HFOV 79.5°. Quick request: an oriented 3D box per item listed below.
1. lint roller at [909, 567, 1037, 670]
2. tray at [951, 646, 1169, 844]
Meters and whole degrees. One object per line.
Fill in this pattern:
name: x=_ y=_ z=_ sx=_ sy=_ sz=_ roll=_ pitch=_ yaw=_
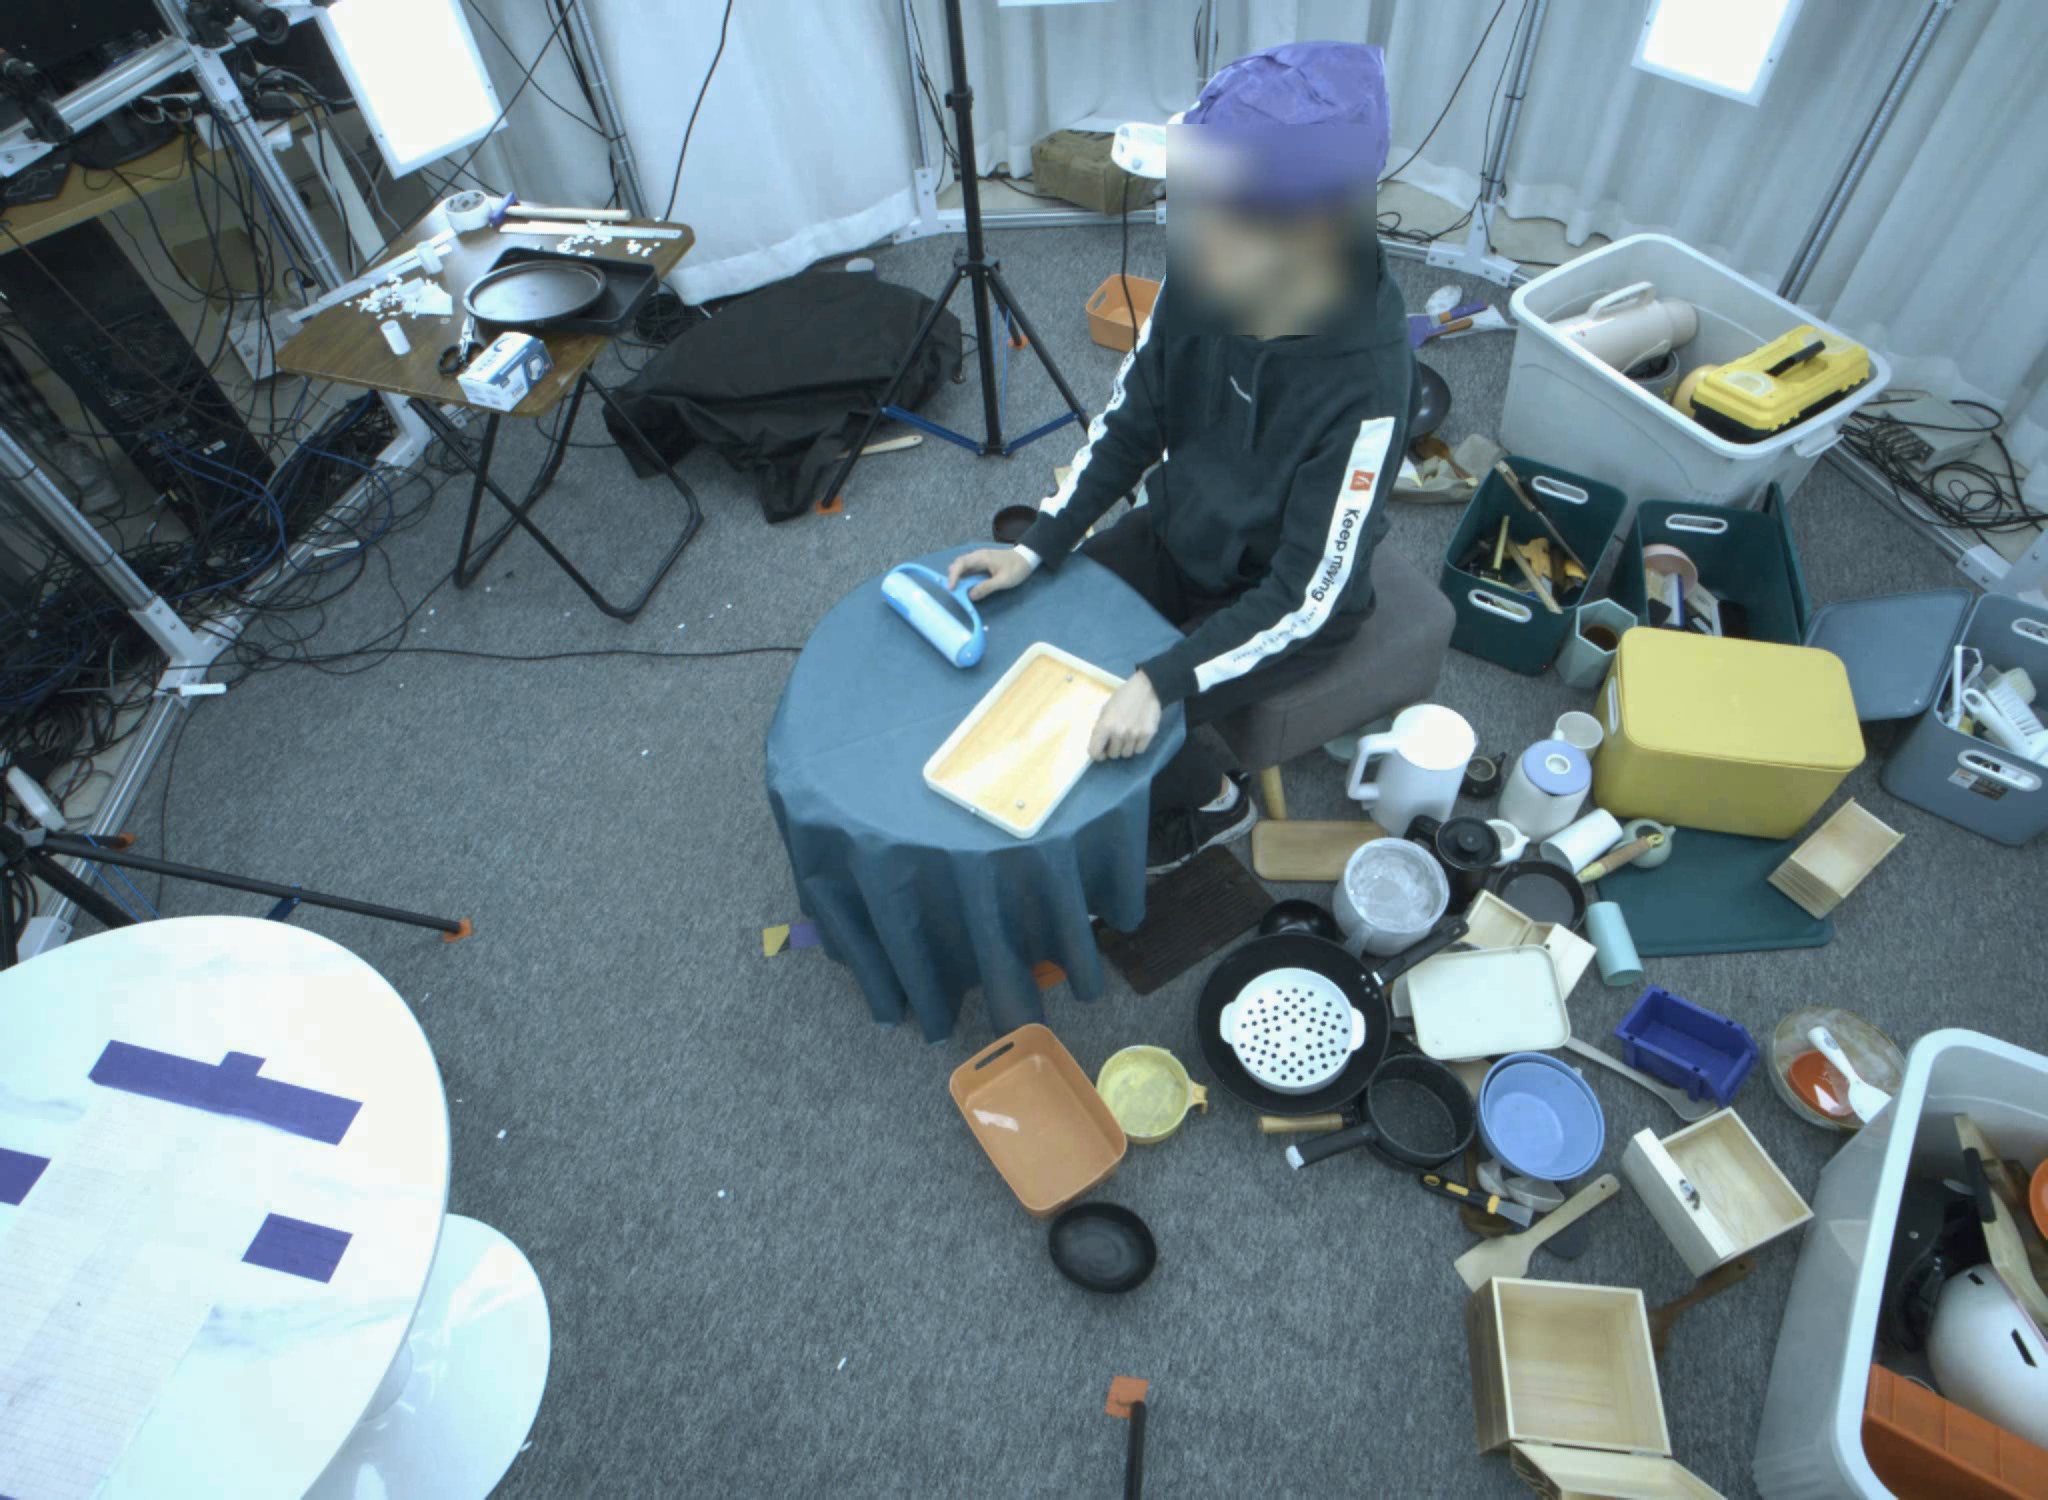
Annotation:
lint roller: x=-0.057 y=-0.234 z=1.917 sx=0.181 sy=0.069 sz=0.224 roll=-38 pitch=59 yaw=-21
tray: x=0.055 y=-0.014 z=1.774 sx=0.188 sy=0.028 sz=0.302 roll=30 pitch=61 yaw=21
